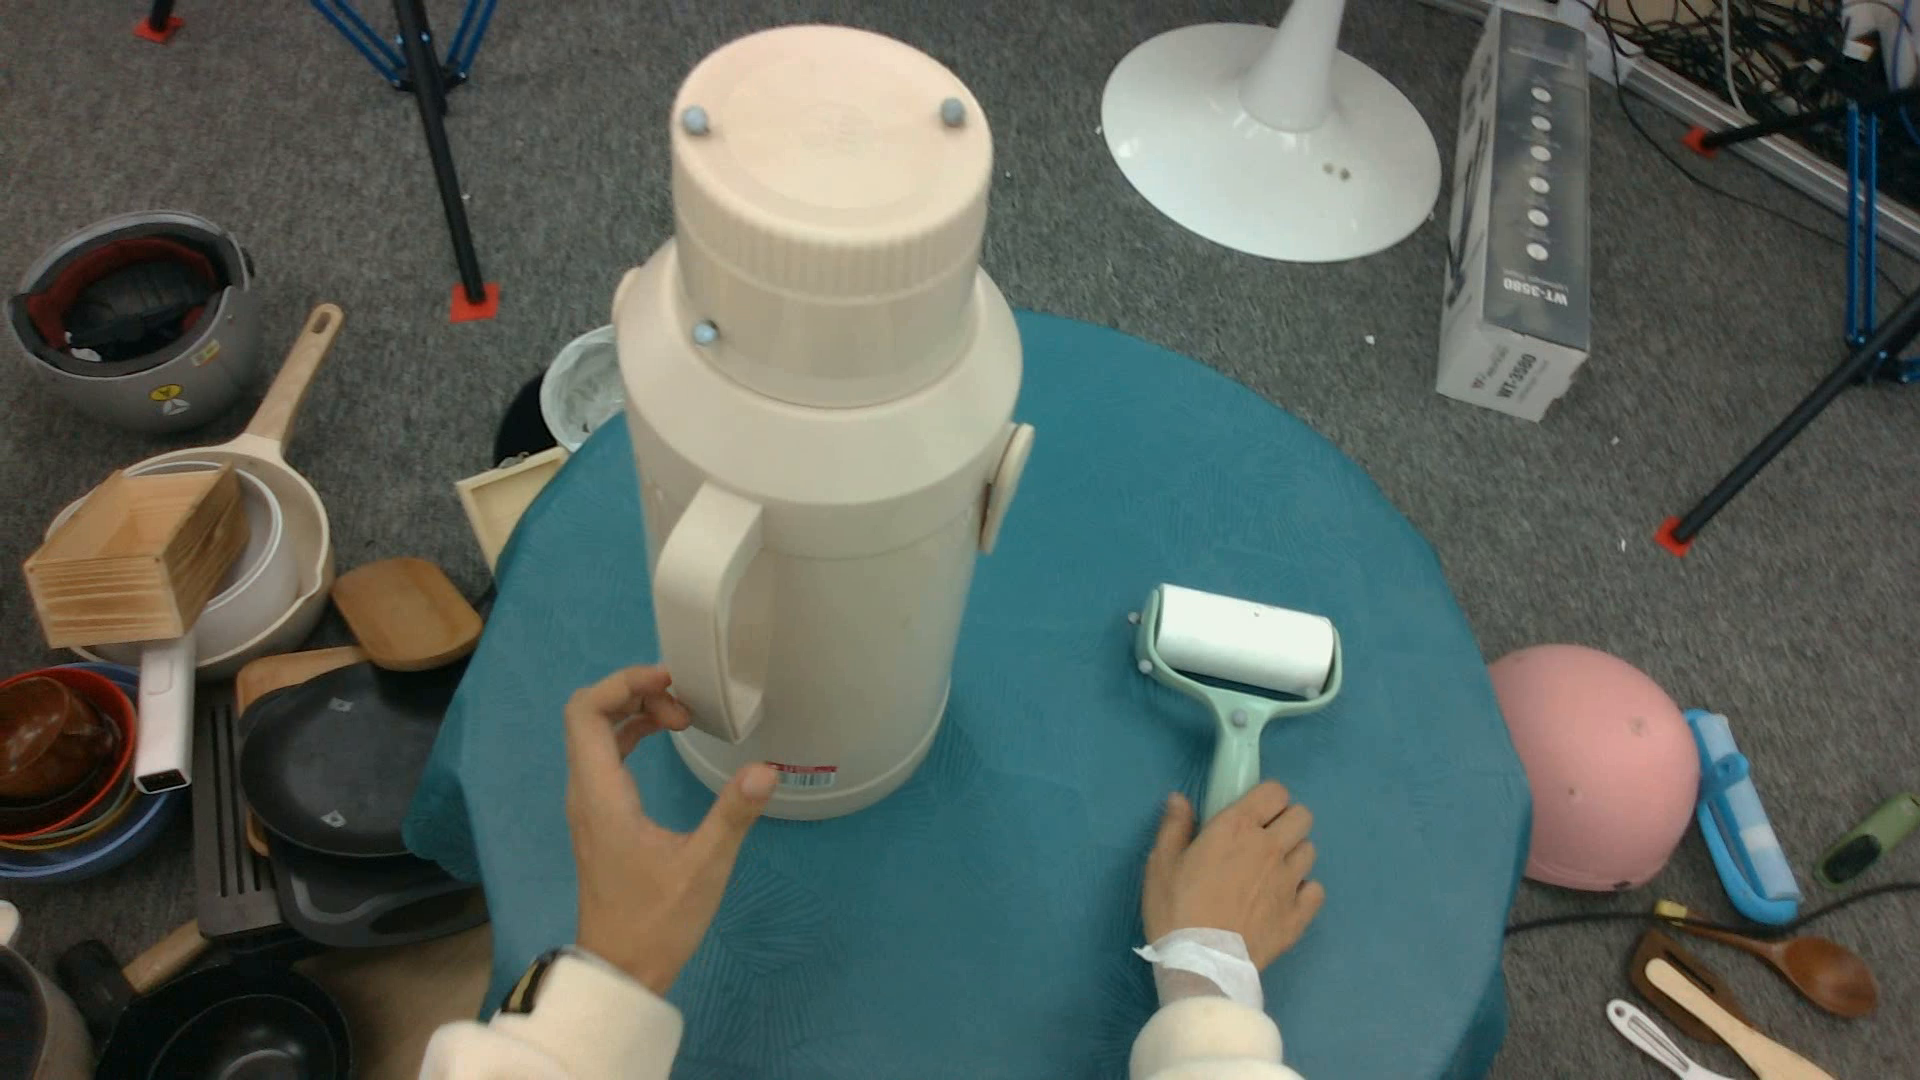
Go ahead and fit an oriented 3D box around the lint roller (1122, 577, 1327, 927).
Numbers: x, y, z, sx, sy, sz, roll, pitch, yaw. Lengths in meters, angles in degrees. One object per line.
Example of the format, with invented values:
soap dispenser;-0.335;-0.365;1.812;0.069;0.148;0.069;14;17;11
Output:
lint roller;0.142;0.114;0.766;0.116;0.048;0.198;13;55;-2

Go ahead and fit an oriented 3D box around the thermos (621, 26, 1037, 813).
thermos;-0.069;-0.017;0.609;0.175;0.404;0.208;23;56;6
